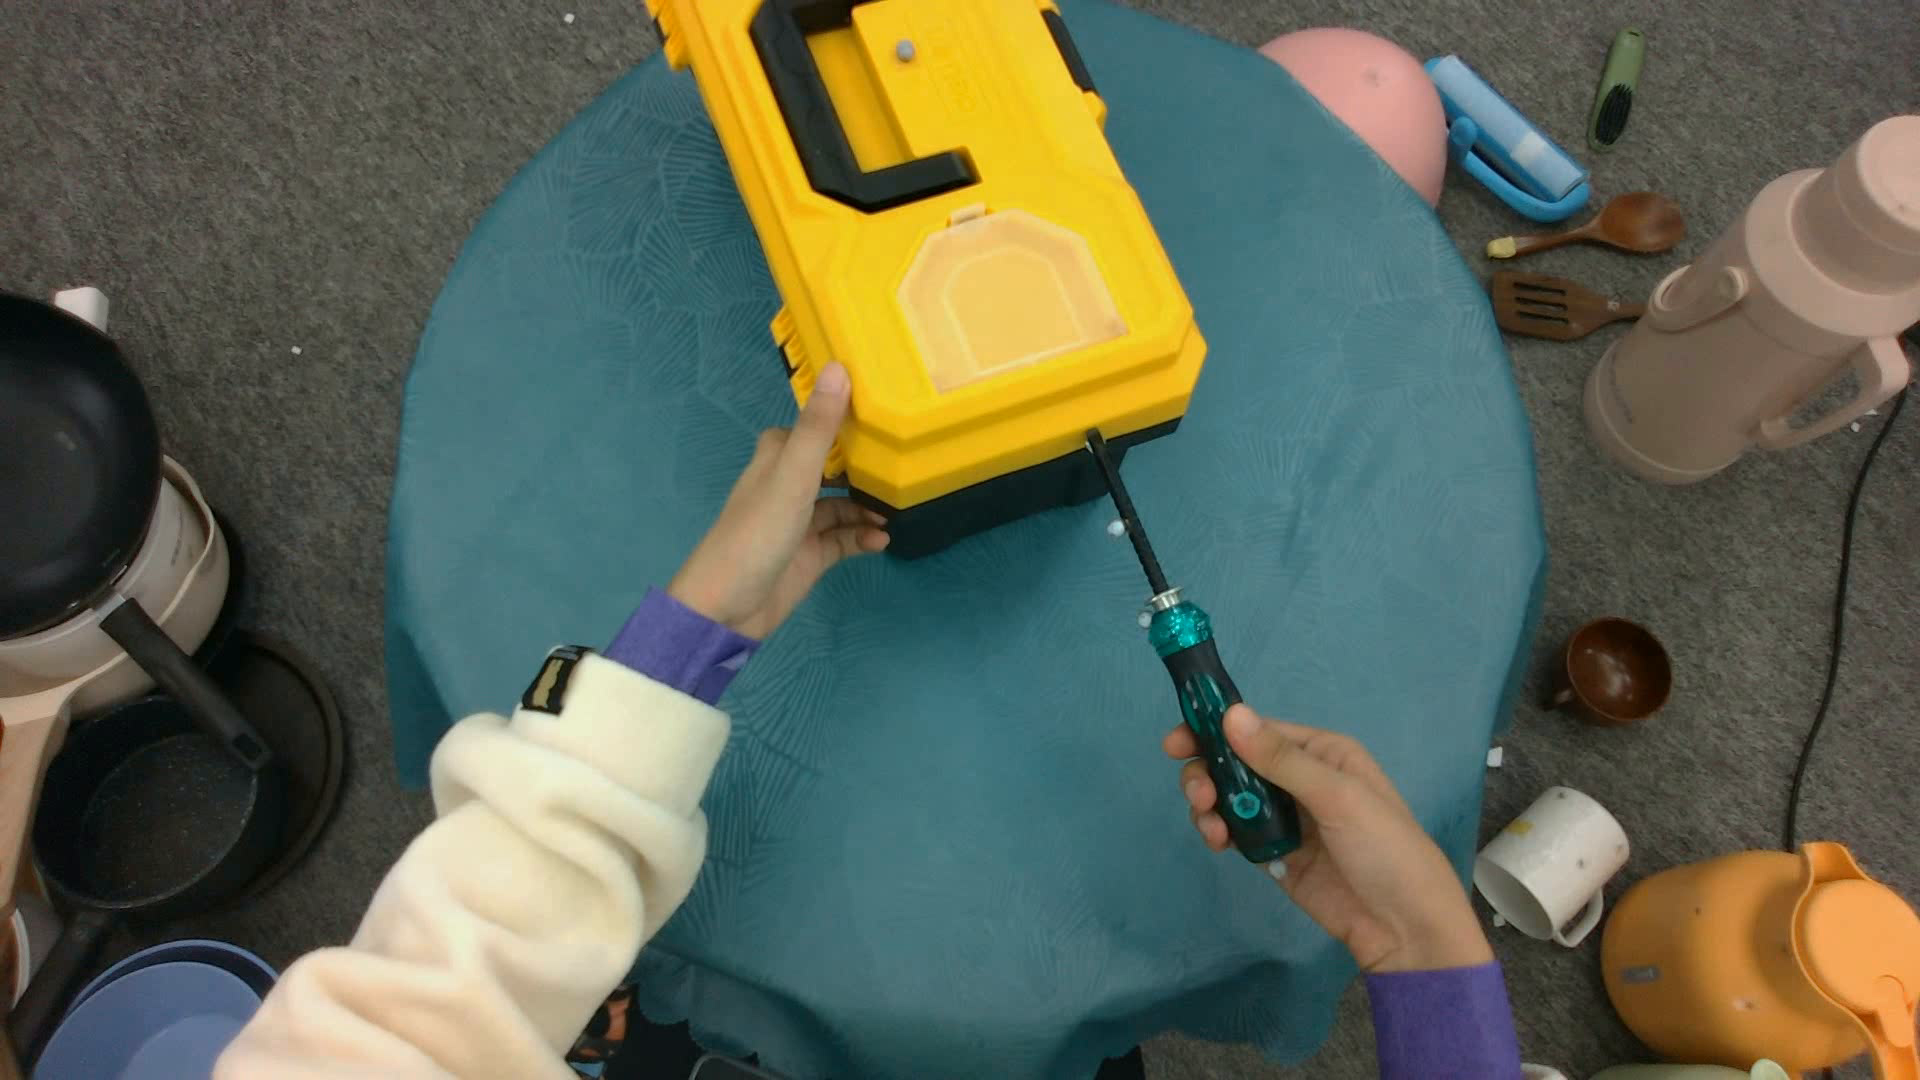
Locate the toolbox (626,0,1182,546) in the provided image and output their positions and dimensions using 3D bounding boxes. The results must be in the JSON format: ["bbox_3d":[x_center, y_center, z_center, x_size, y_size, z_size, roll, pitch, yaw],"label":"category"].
[{"bbox_3d":[-0.041,-0.181,0.681,0.181,0.172,0.352,-19,71,-10],"label":"toolbox"}]

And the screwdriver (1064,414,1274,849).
[{"bbox_3d":[0.080,0.034,0.565,0.034,0.033,0.190,-20,81,-11],"label":"screwdriver"}]
